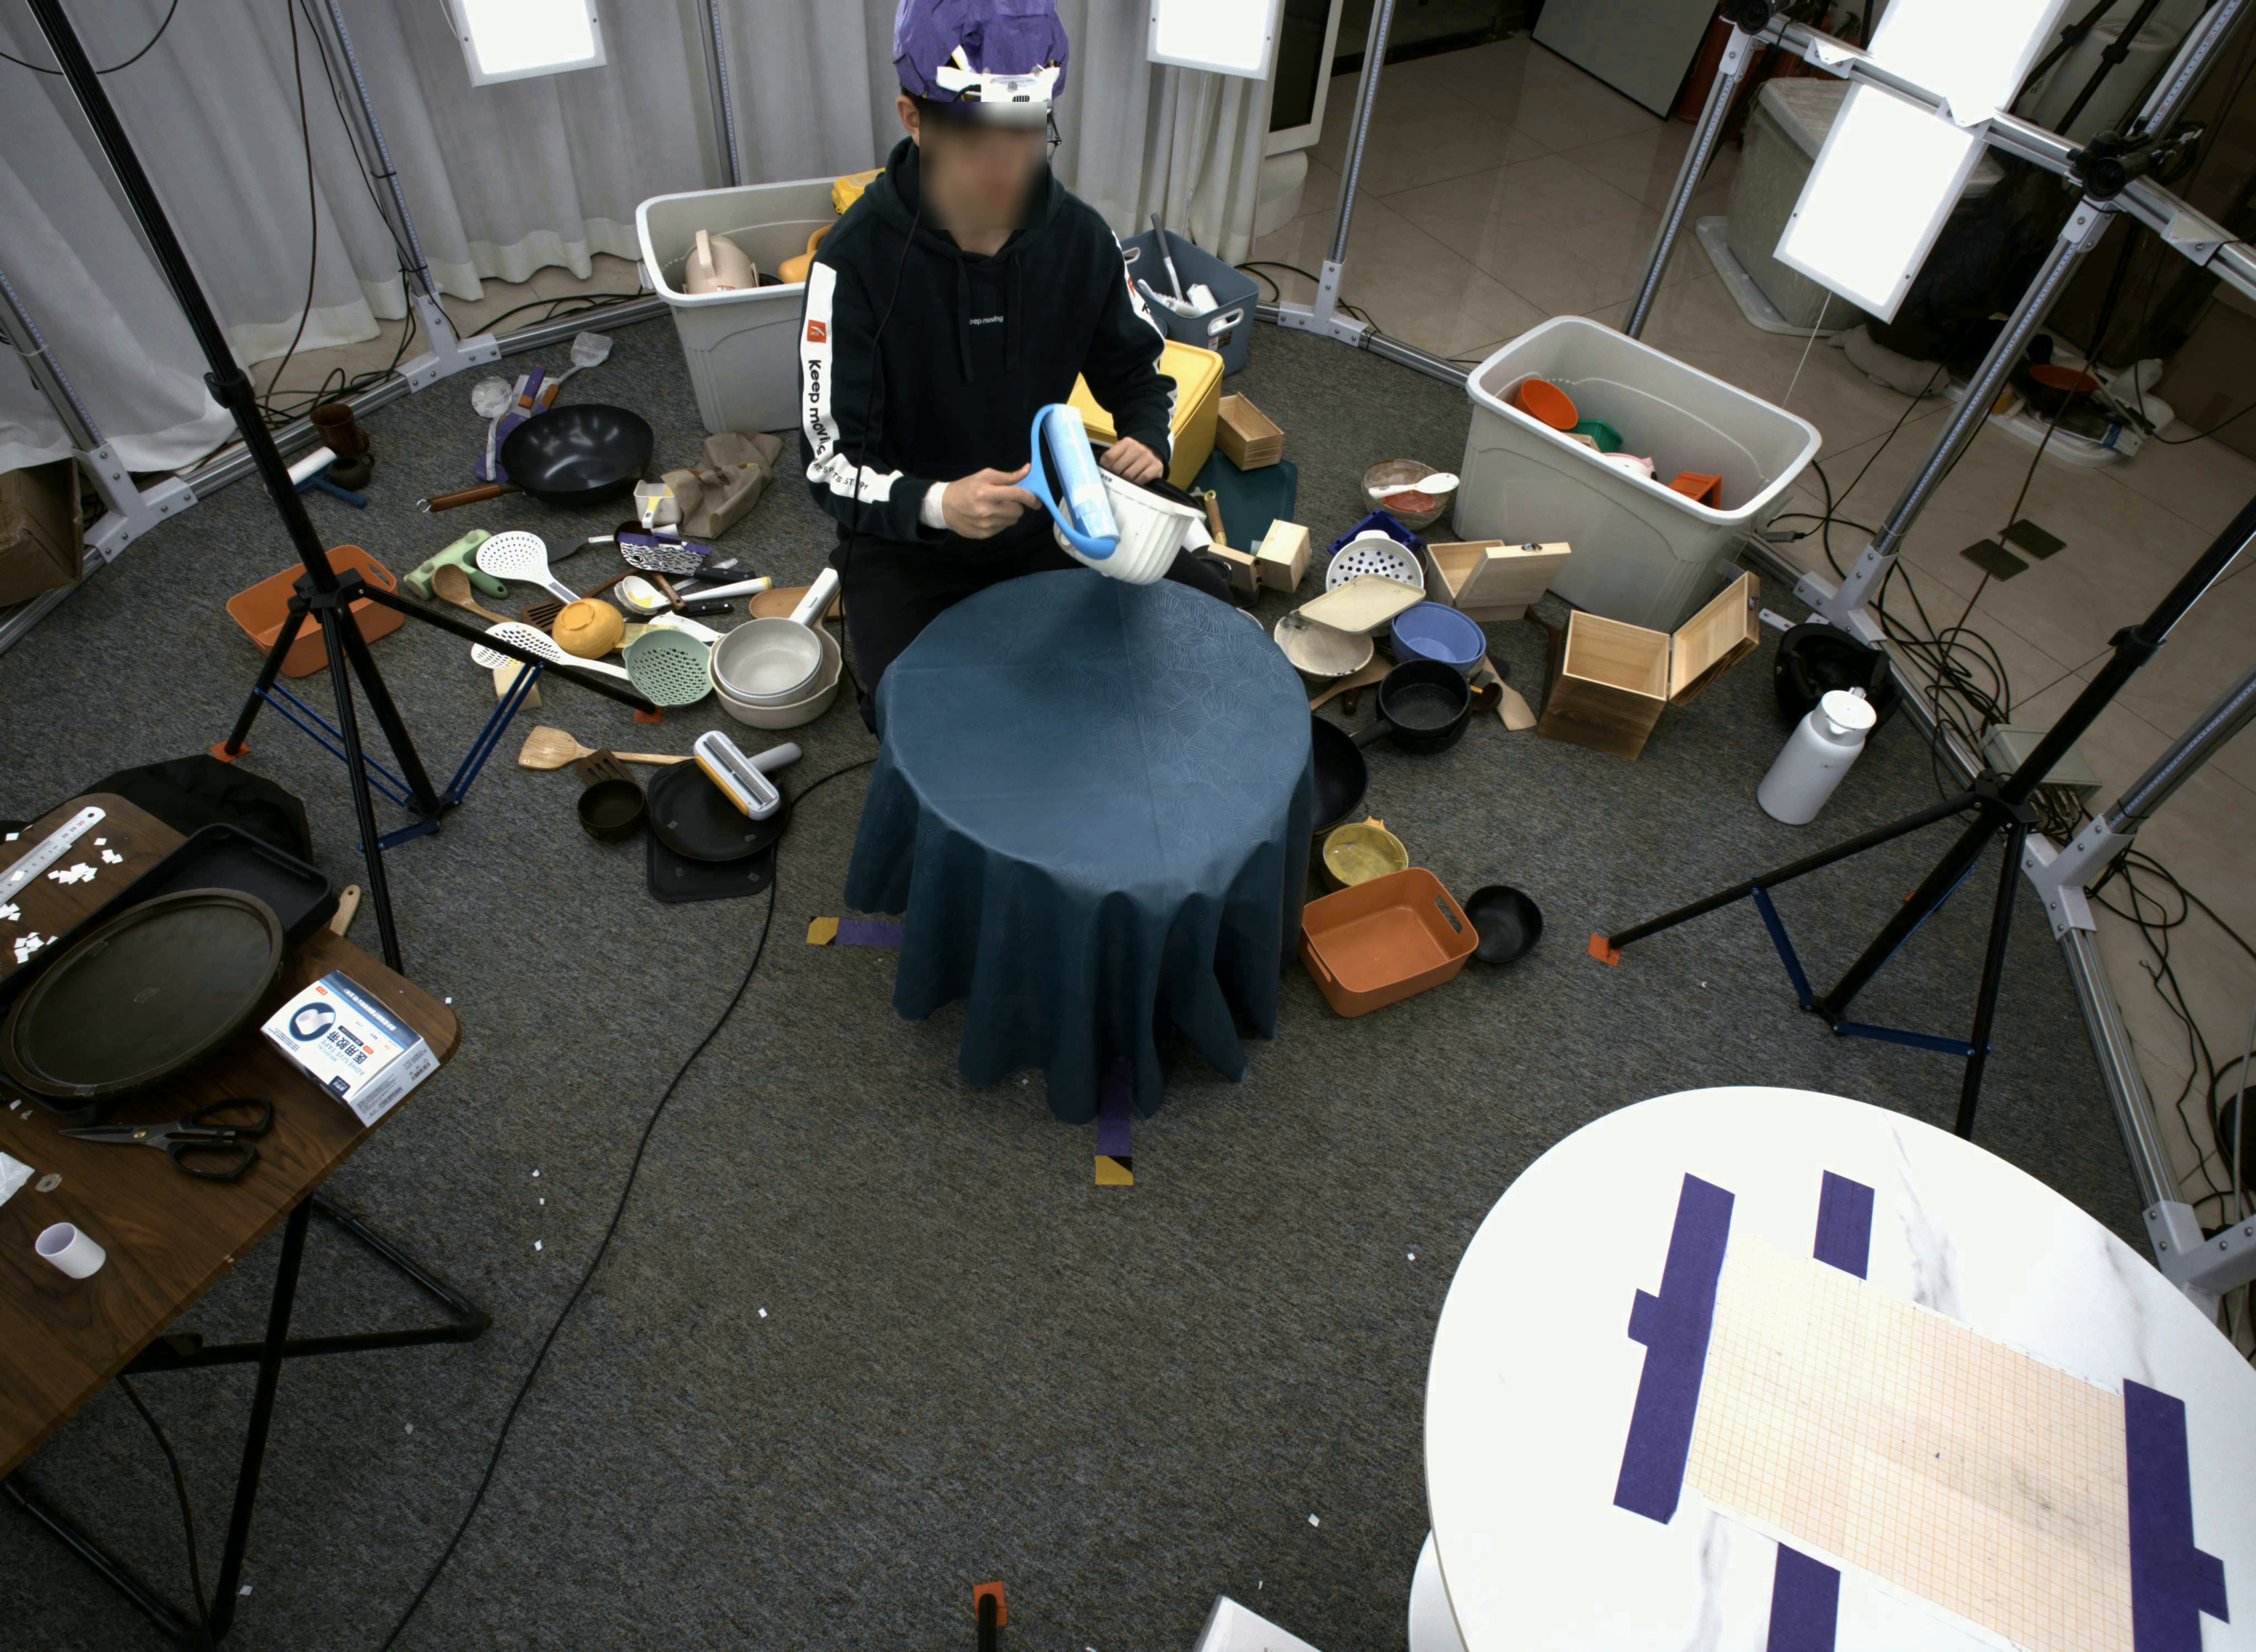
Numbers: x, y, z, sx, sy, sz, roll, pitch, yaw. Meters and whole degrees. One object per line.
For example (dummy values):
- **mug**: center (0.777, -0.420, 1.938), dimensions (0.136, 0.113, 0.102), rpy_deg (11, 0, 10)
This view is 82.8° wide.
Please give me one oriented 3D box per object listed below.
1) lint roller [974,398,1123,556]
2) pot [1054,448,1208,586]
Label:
- **lint roller**: center (-0.117, -0.439, 1.691), dimensions (0.180, 0.067, 0.231), rpy_deg (-20, 77, -5)
- **pot**: center (-0.010, -0.424, 1.792), dimensions (0.244, 0.141, 0.189), rpy_deg (35, 18, 29)
